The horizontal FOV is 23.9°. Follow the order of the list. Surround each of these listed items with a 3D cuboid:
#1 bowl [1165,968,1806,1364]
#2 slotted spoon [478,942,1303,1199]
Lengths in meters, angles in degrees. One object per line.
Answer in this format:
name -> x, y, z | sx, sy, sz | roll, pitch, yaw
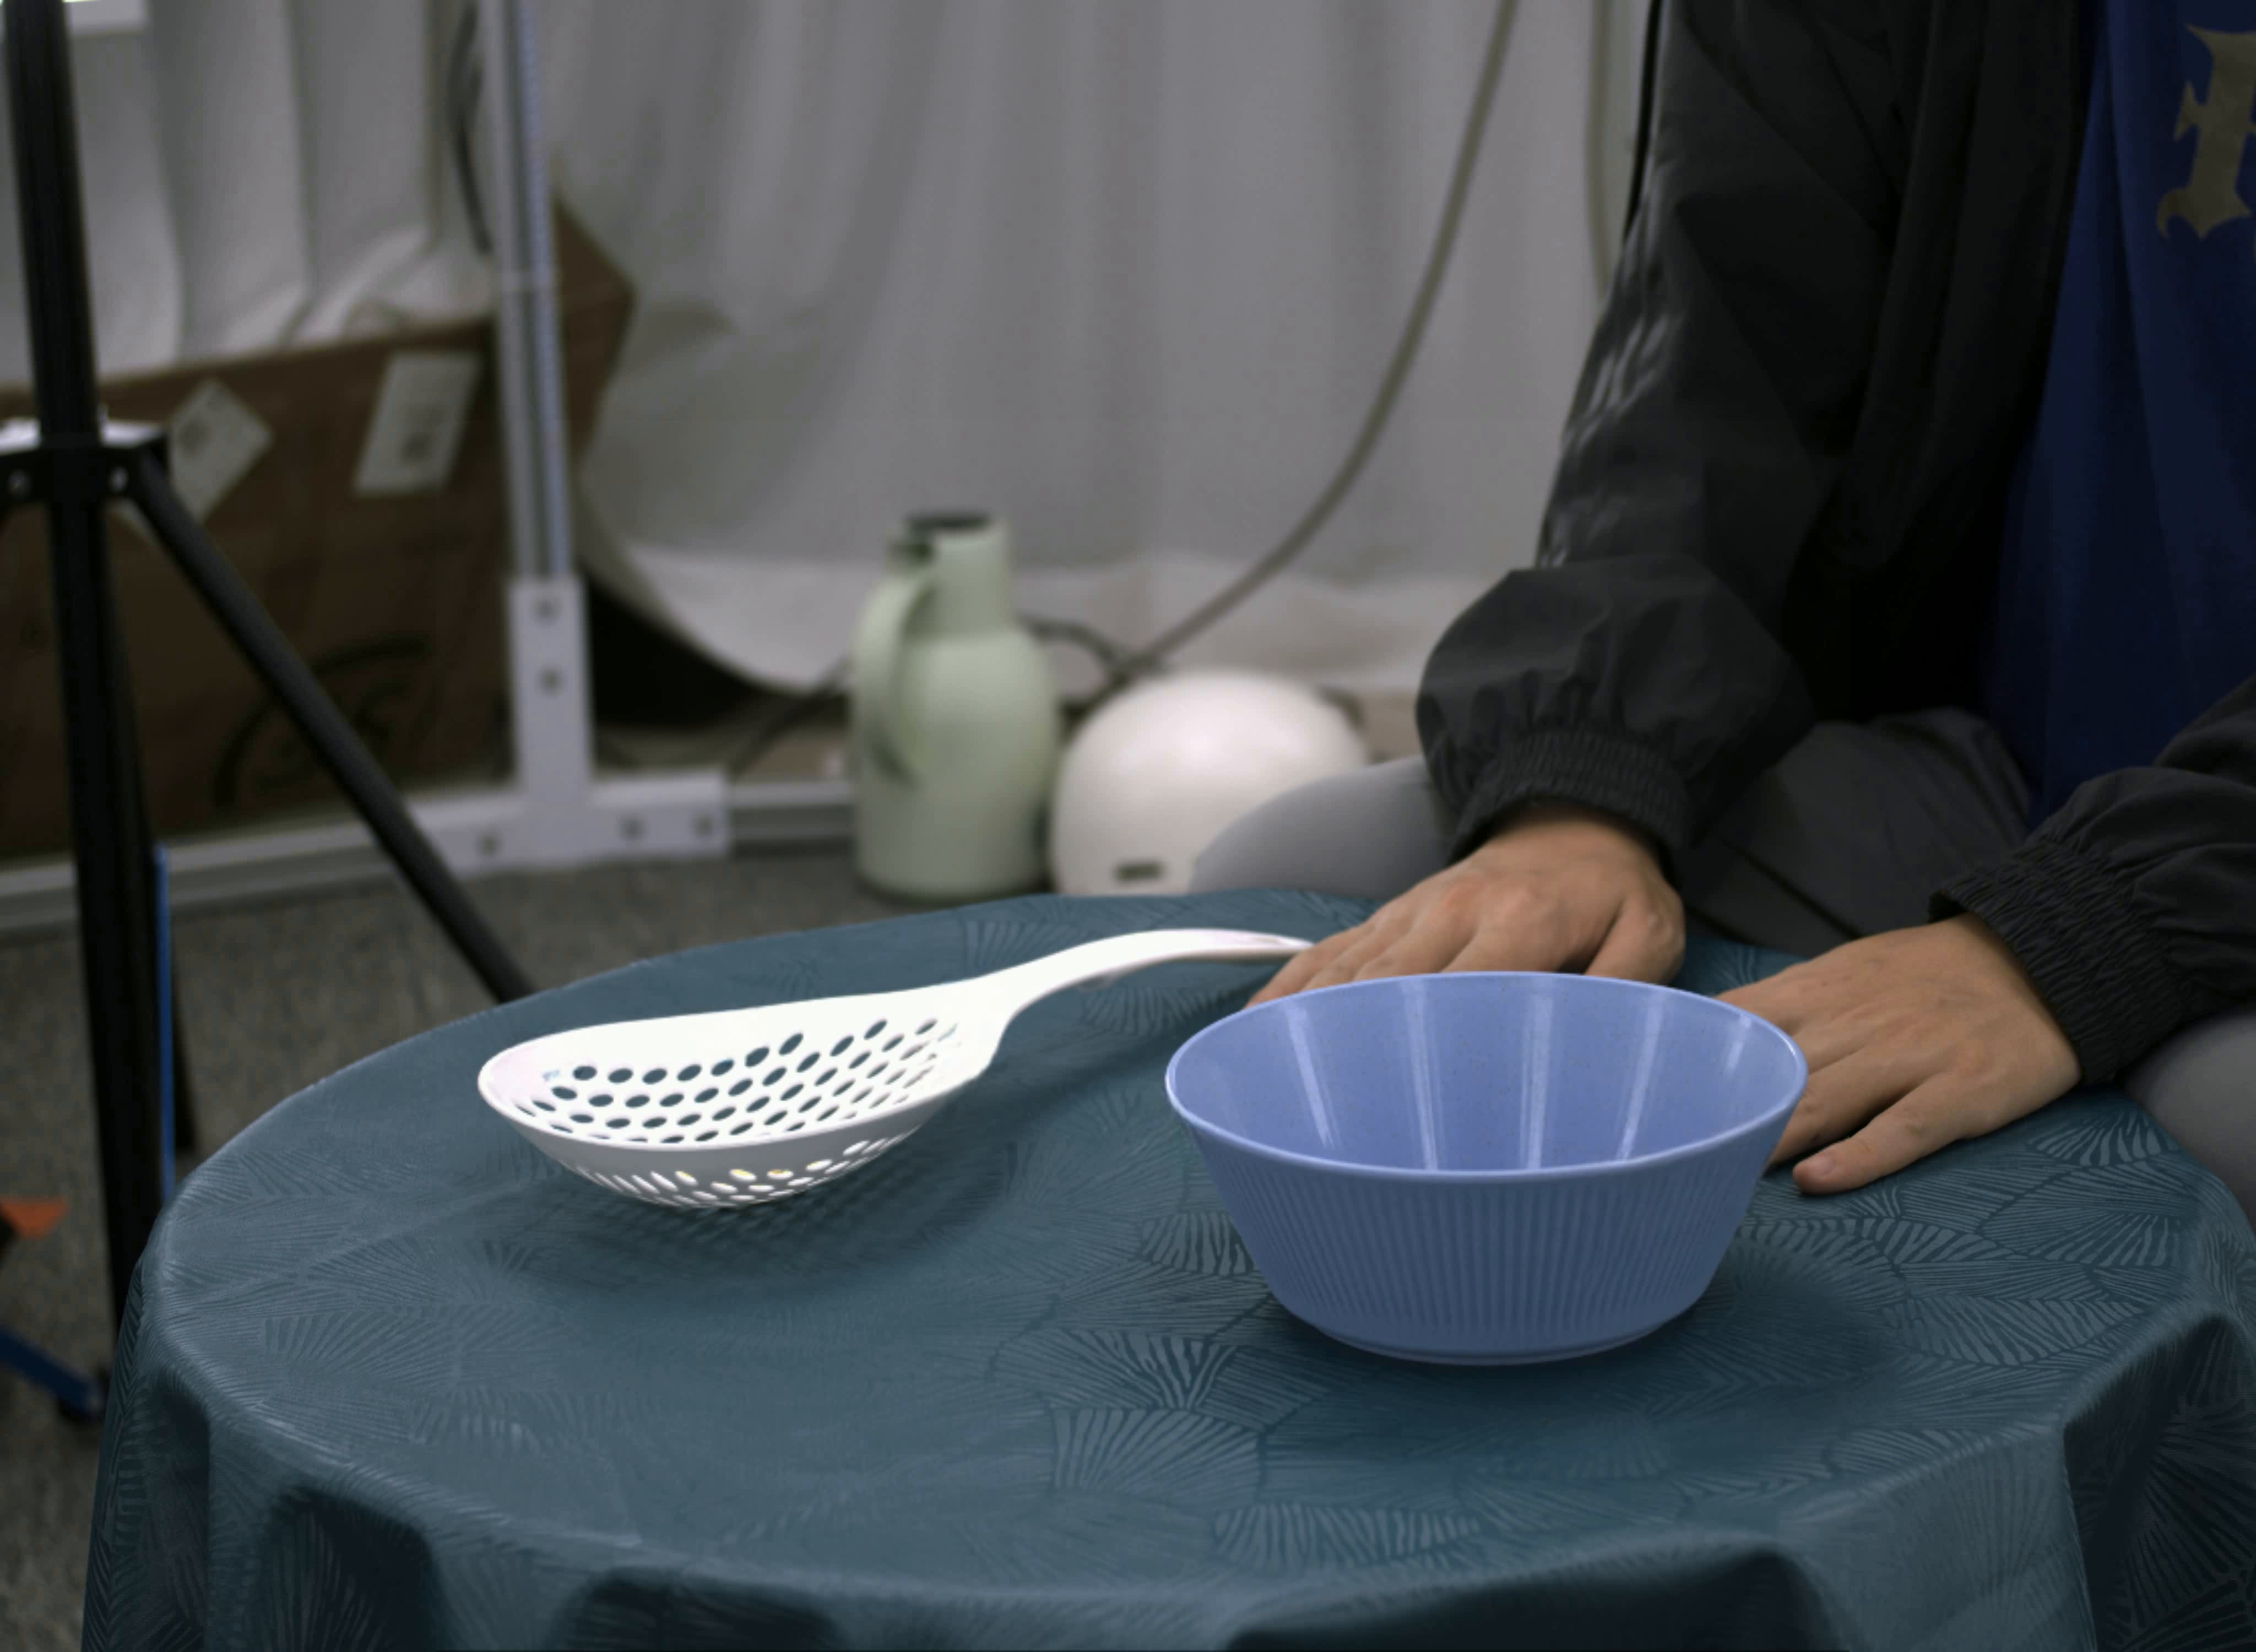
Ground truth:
bowl -> 0.098, 0.096, 1.455 | 0.175, 0.070, 0.177 | -2, 16, -1
slotted spoon -> -0.050, 0.064, 1.645 | 0.140, 0.050, 0.340 | 7, 18, 40
